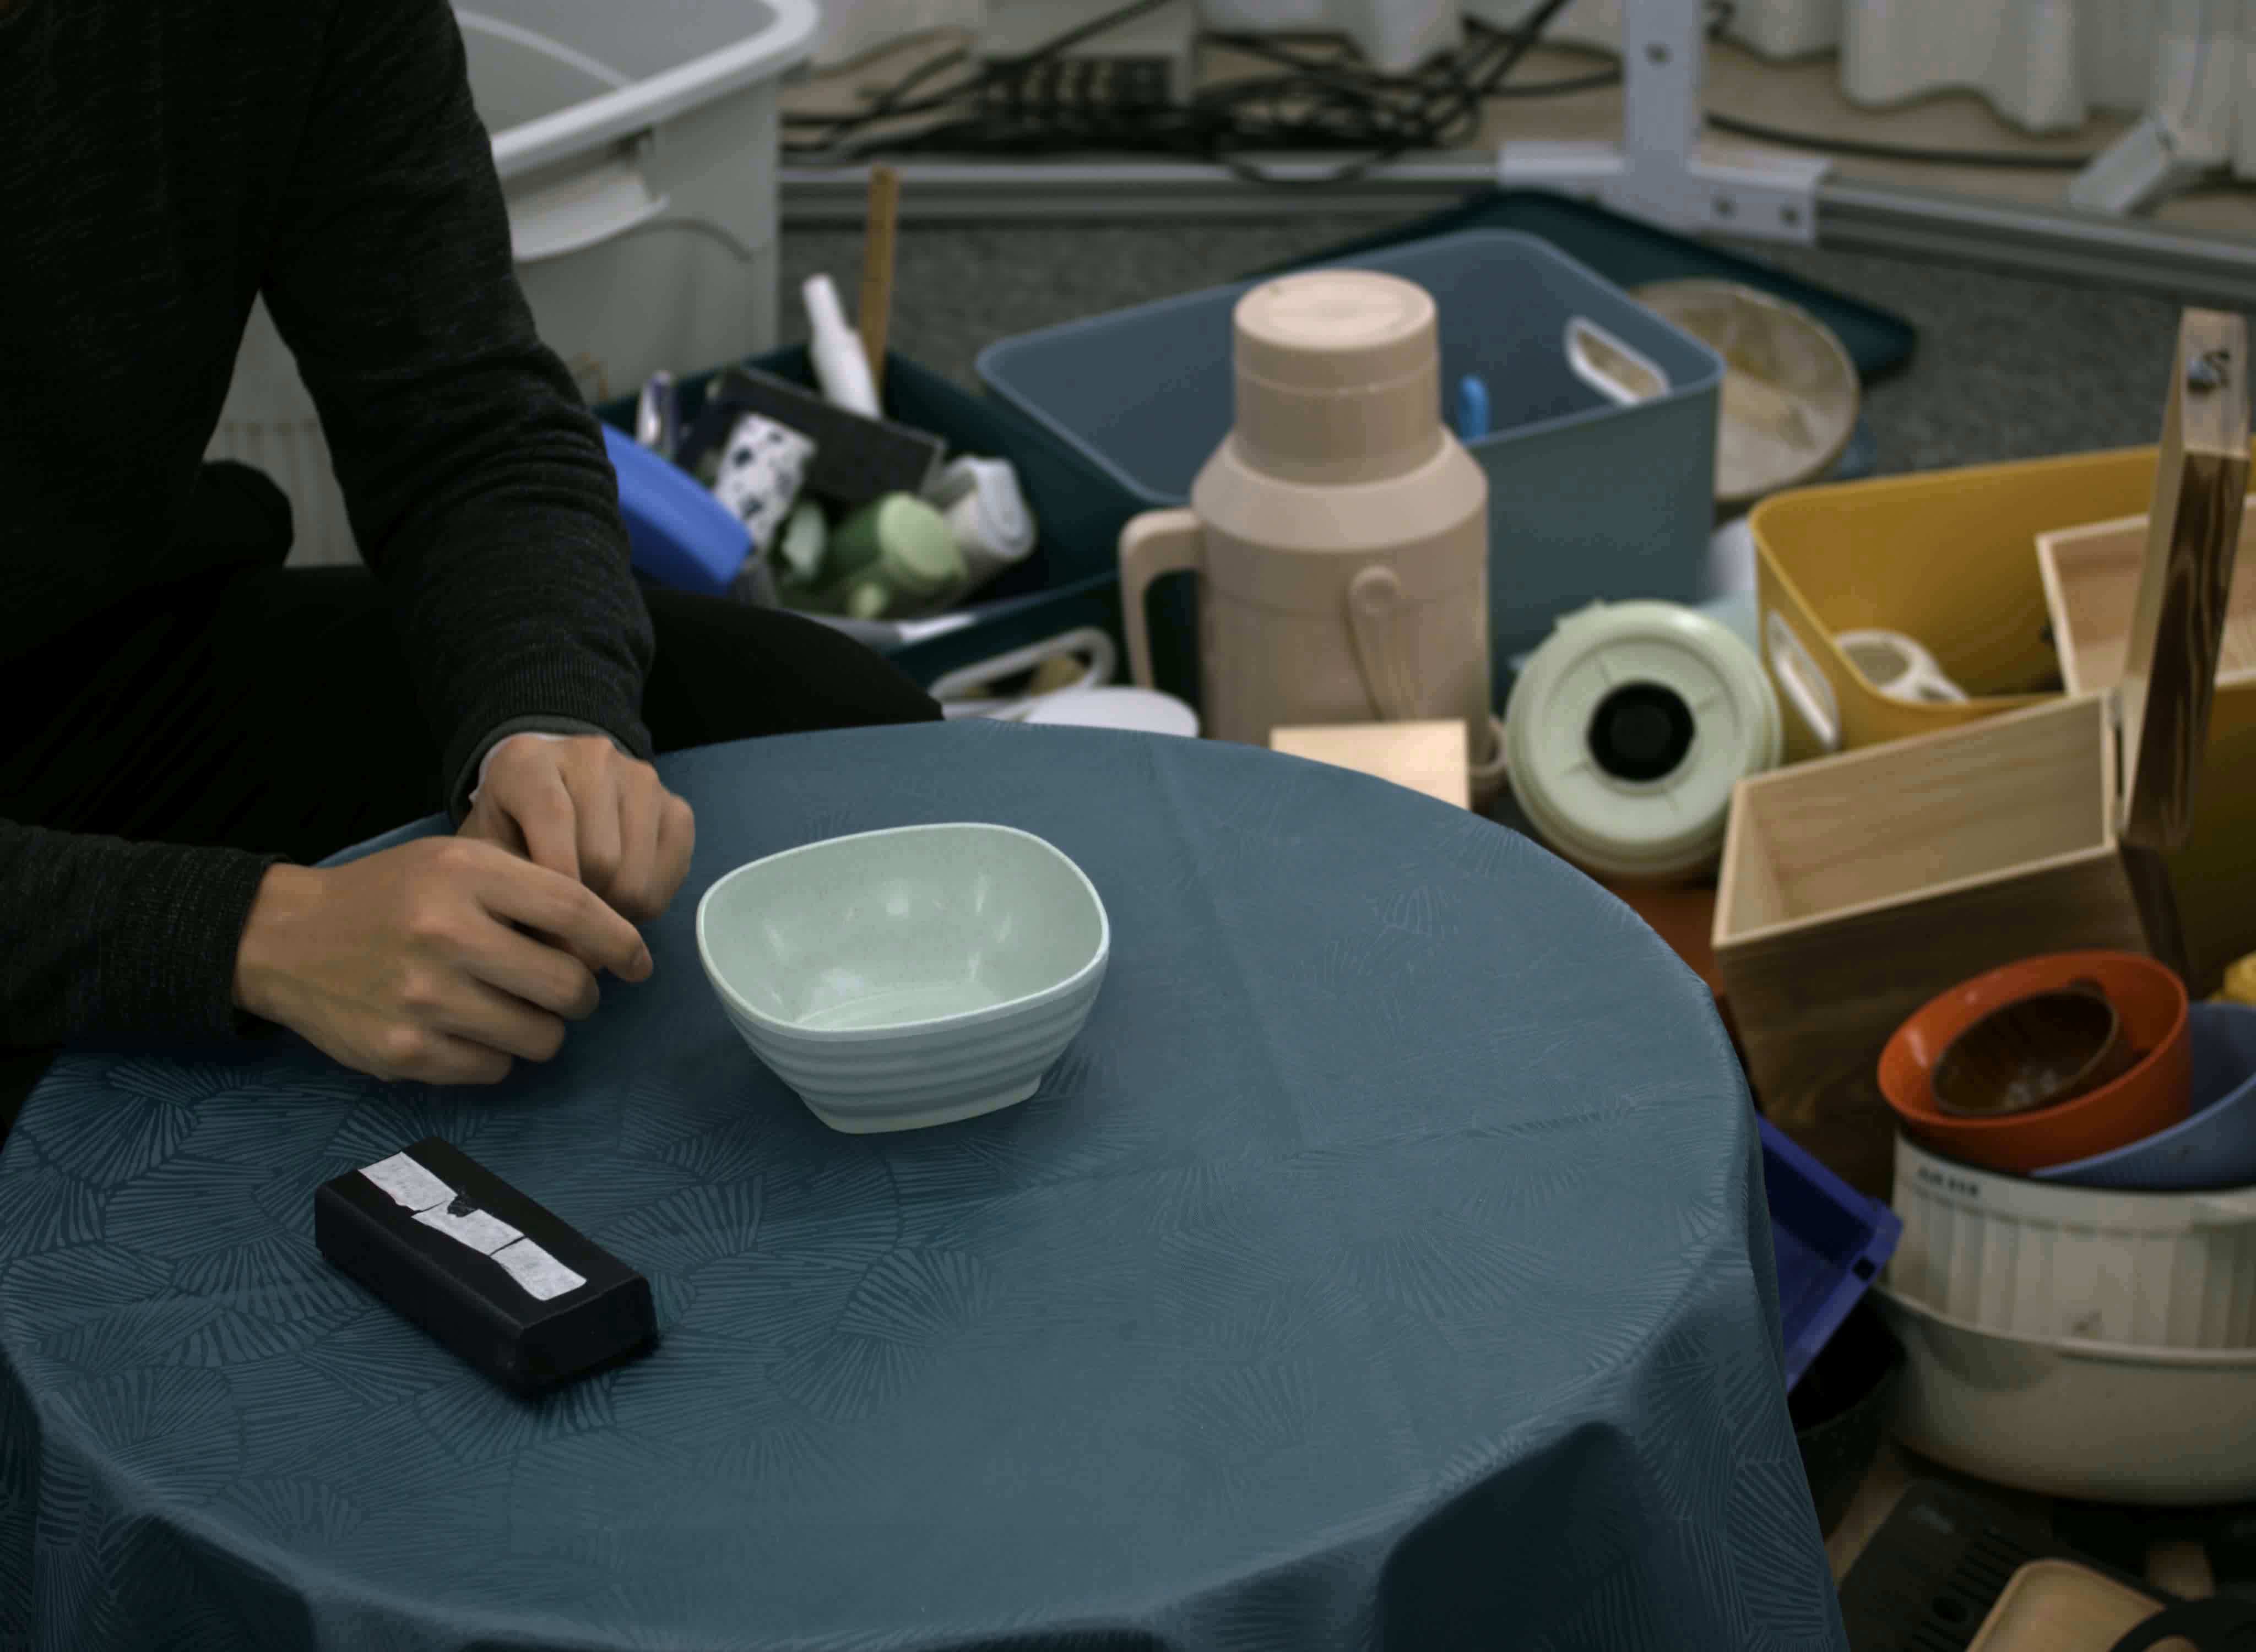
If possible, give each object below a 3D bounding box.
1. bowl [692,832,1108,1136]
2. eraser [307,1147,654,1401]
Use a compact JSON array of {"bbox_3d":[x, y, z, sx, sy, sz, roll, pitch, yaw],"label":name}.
[{"bbox_3d":[-0.078,0.060,1.930,0.151,0.058,0.154,0,26,1],"label":"bowl"},{"bbox_3d":[-0.208,0.144,1.808,0.054,0.030,0.125,-20,31,-36],"label":"eraser"}]
